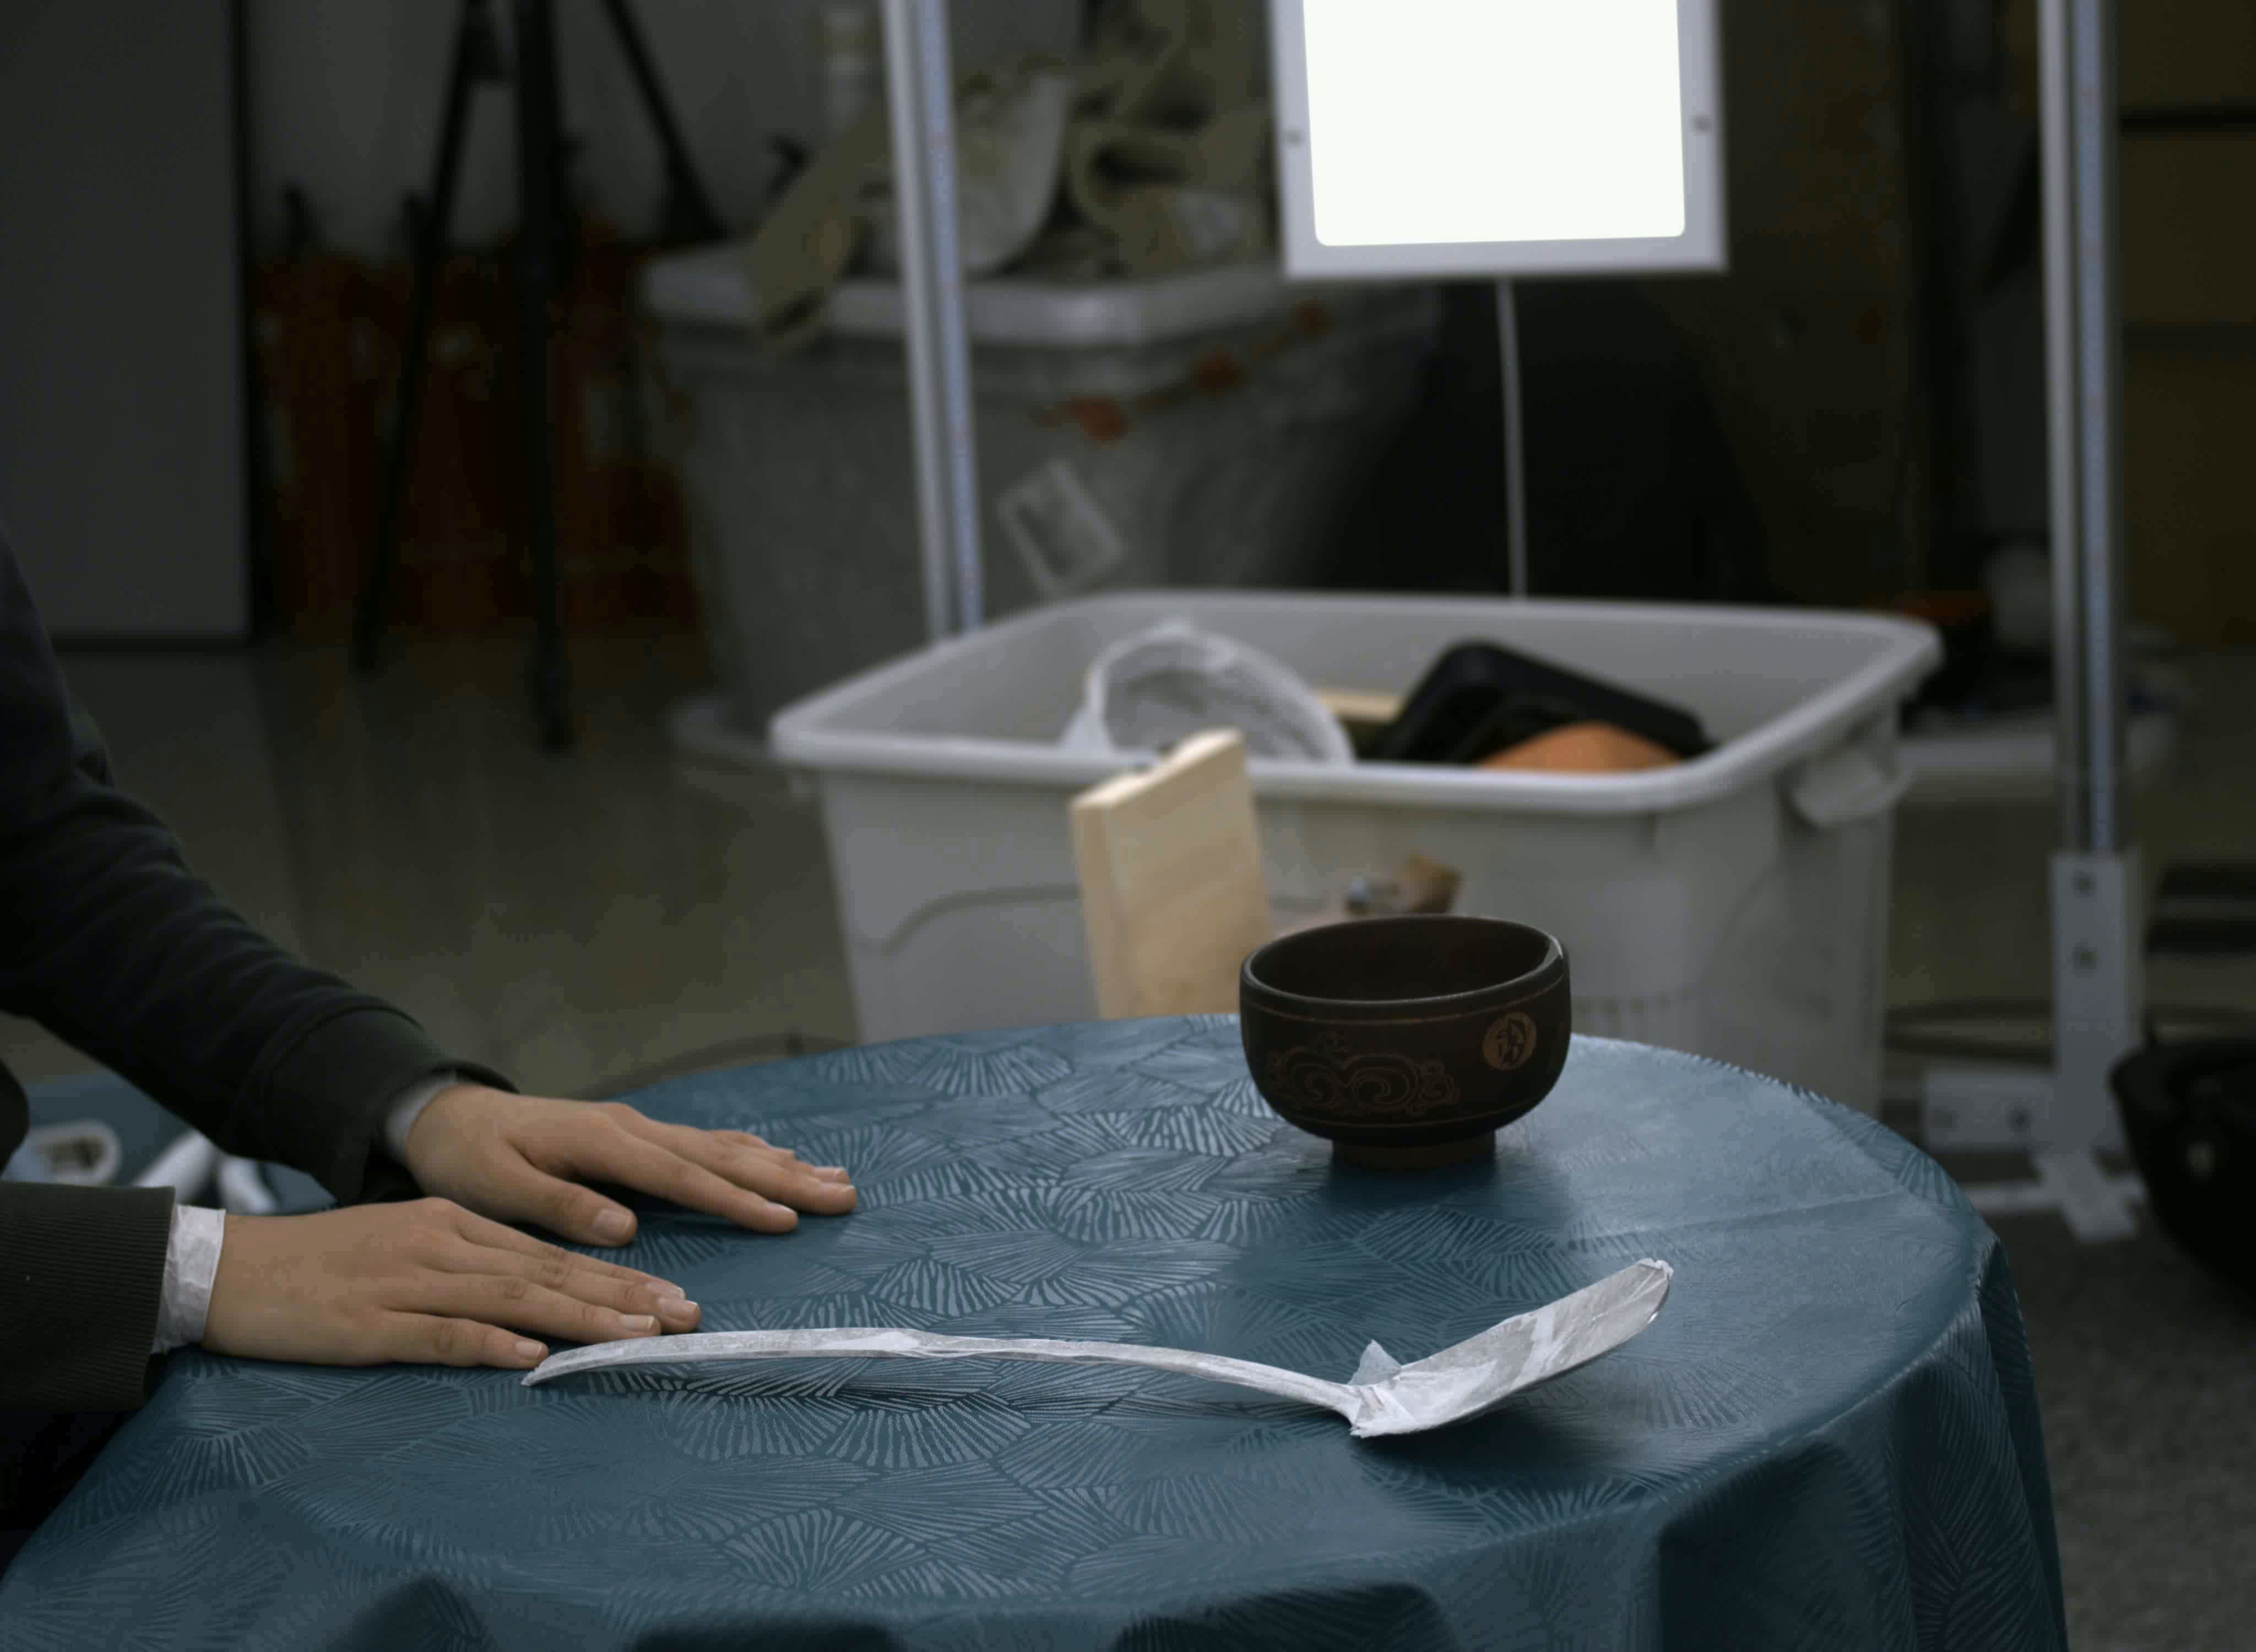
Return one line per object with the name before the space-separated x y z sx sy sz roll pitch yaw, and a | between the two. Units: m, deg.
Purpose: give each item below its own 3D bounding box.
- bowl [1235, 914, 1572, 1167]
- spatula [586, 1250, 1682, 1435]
bowl | 0.098 0.078 1.912 0.118 0.070 0.118 -6 12 0
spatula | -0.009 0.157 1.694 0.370 0.045 0.097 1 17 22
